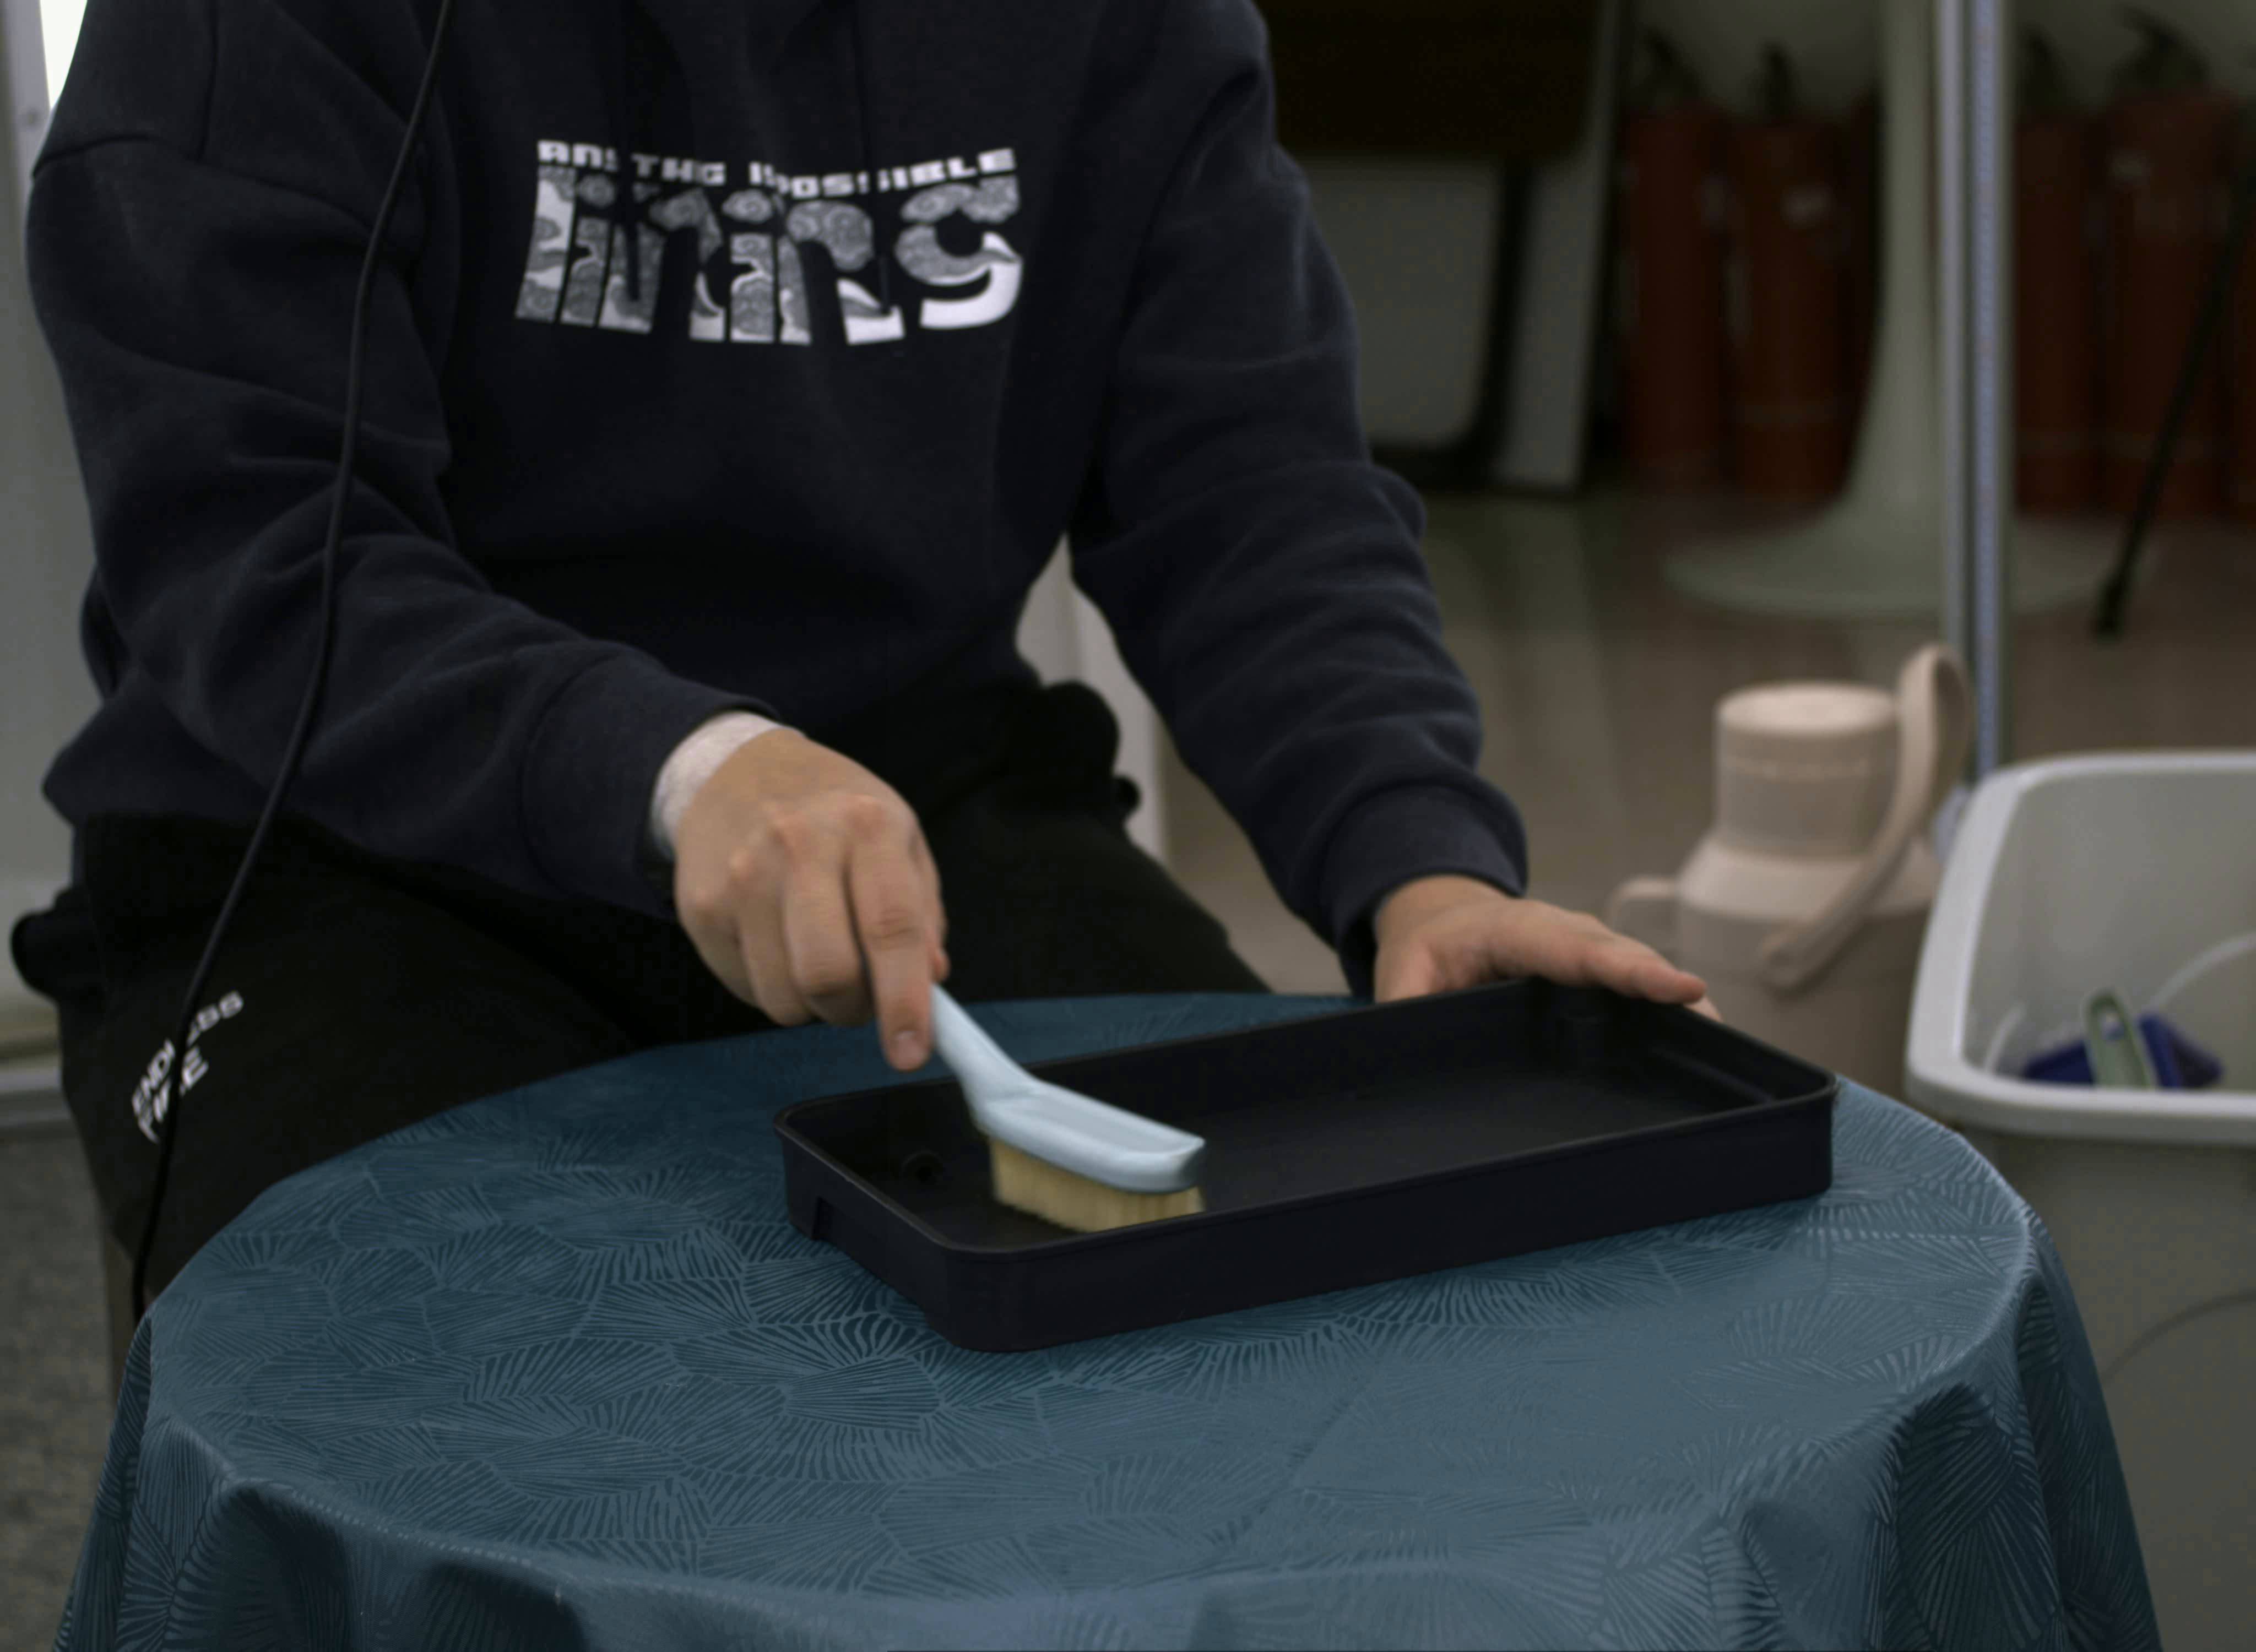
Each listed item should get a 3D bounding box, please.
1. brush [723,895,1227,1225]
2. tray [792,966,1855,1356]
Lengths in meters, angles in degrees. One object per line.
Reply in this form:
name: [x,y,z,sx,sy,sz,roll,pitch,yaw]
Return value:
brush: [-0.054,0.078,1.773,0.037,0.050,0.231,-20,37,-40]
tray: [0.064,0.104,1.751,0.311,0.037,0.186,-10,14,-23]
